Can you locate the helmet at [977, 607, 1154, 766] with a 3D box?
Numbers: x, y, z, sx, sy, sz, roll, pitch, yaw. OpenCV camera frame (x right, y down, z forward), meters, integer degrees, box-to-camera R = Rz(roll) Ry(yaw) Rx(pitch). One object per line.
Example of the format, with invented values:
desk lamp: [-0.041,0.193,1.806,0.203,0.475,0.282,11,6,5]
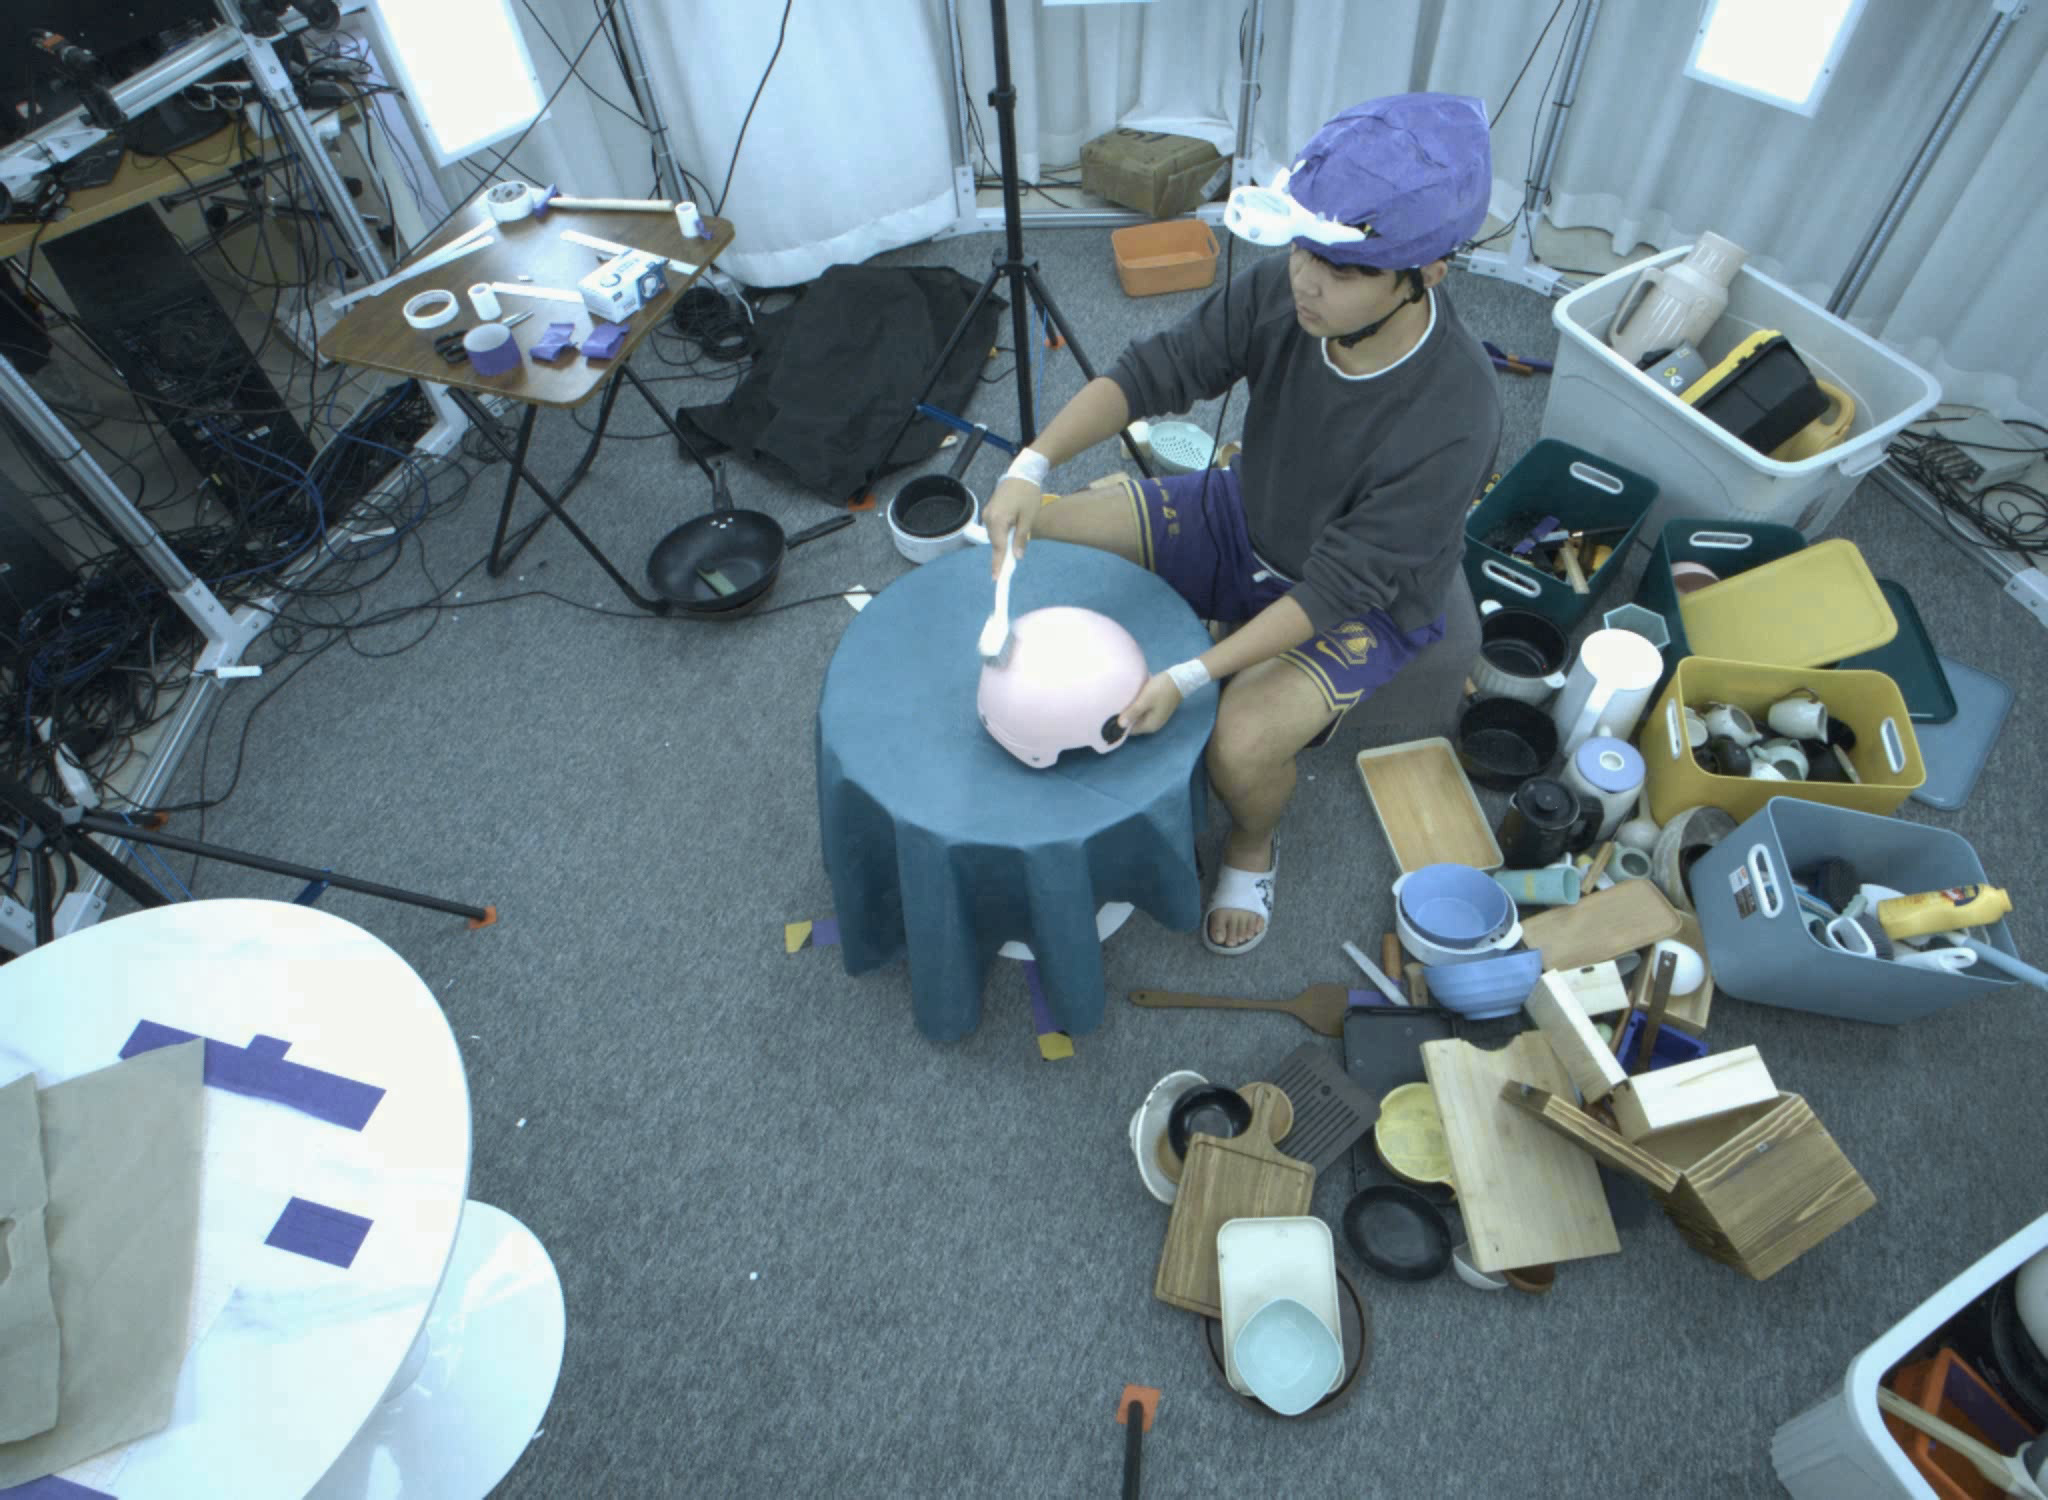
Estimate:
helmet: [0.060,-0.116,1.769,0.268,0.160,0.229,-20,51,-16]

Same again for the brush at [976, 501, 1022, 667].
brush: [-0.024,-0.231,1.713,0.034,0.051,0.242,1,72,28]
